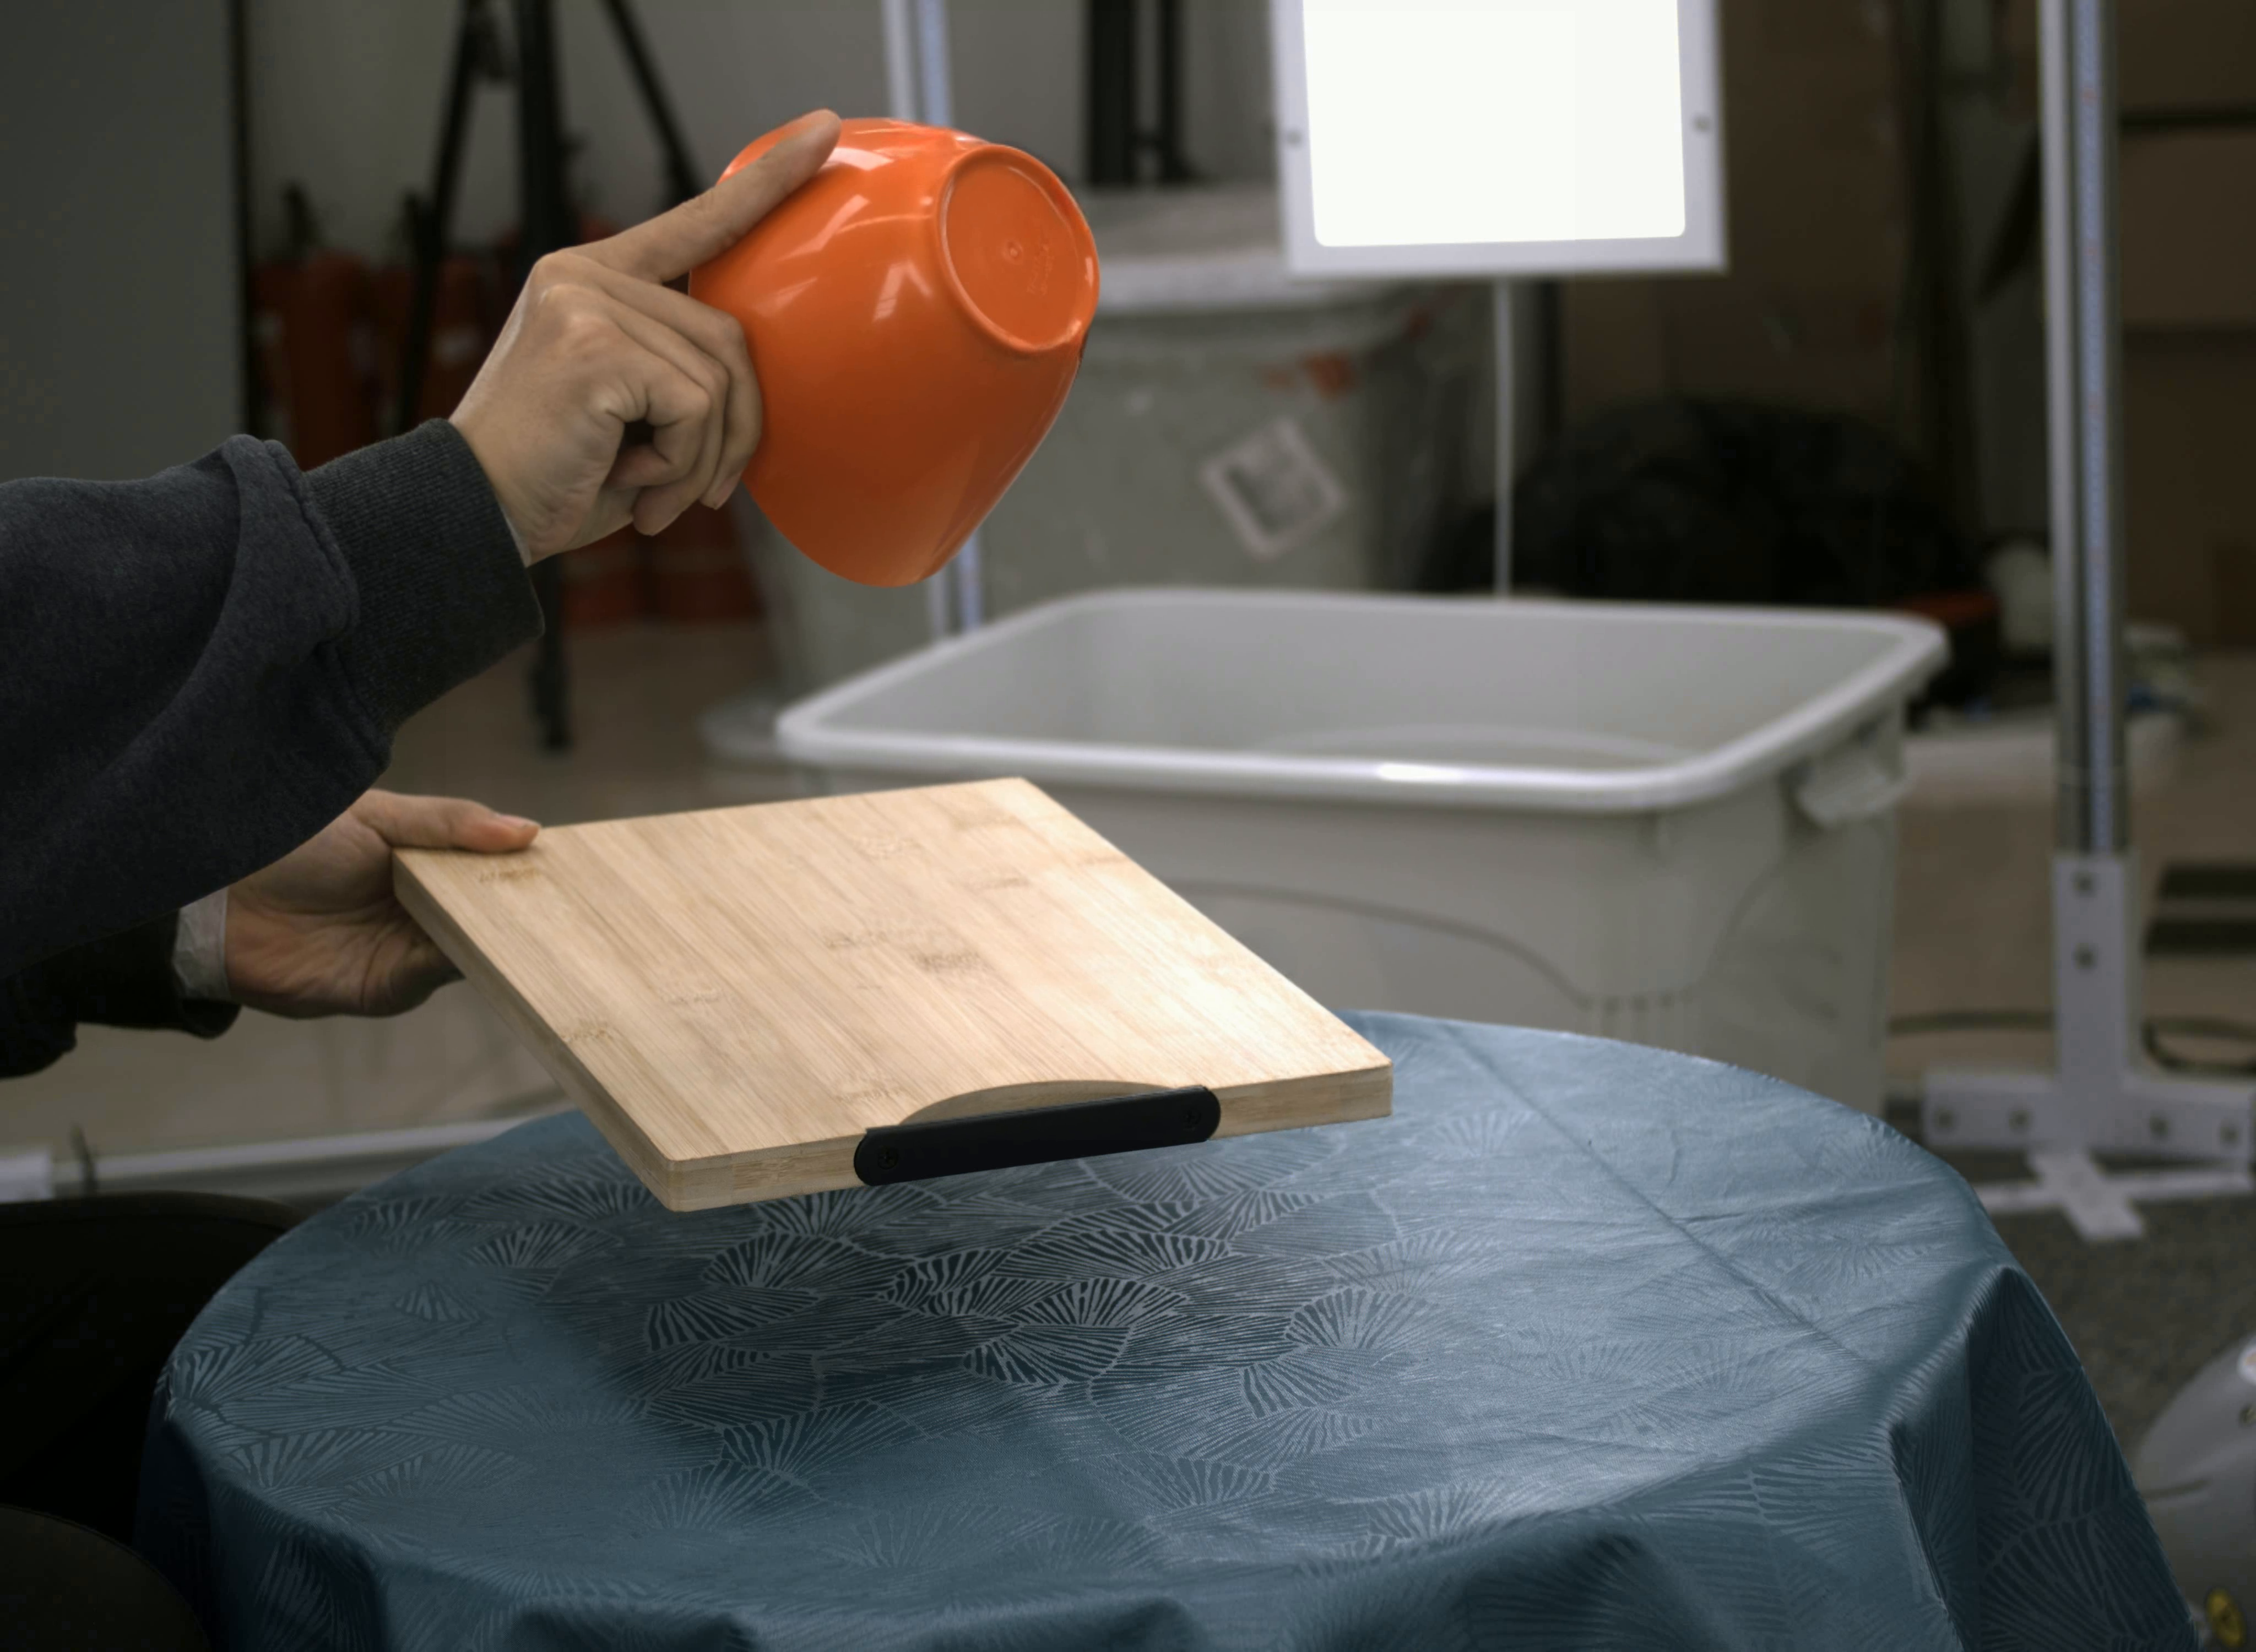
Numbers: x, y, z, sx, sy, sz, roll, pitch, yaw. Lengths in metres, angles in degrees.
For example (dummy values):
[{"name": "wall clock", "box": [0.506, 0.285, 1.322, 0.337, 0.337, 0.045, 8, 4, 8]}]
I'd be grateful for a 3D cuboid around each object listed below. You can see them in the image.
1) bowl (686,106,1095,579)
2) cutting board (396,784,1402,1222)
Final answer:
[{"name": "bowl", "box": [-0.059, -0.159, 1.693, 0.144, 0.148, 0.107, -17, -1, -43]}, {"name": "cutting board", "box": [-0.086, 0.052, 1.835, 0.246, 0.024, 0.353, -8, 18, -20]}]
